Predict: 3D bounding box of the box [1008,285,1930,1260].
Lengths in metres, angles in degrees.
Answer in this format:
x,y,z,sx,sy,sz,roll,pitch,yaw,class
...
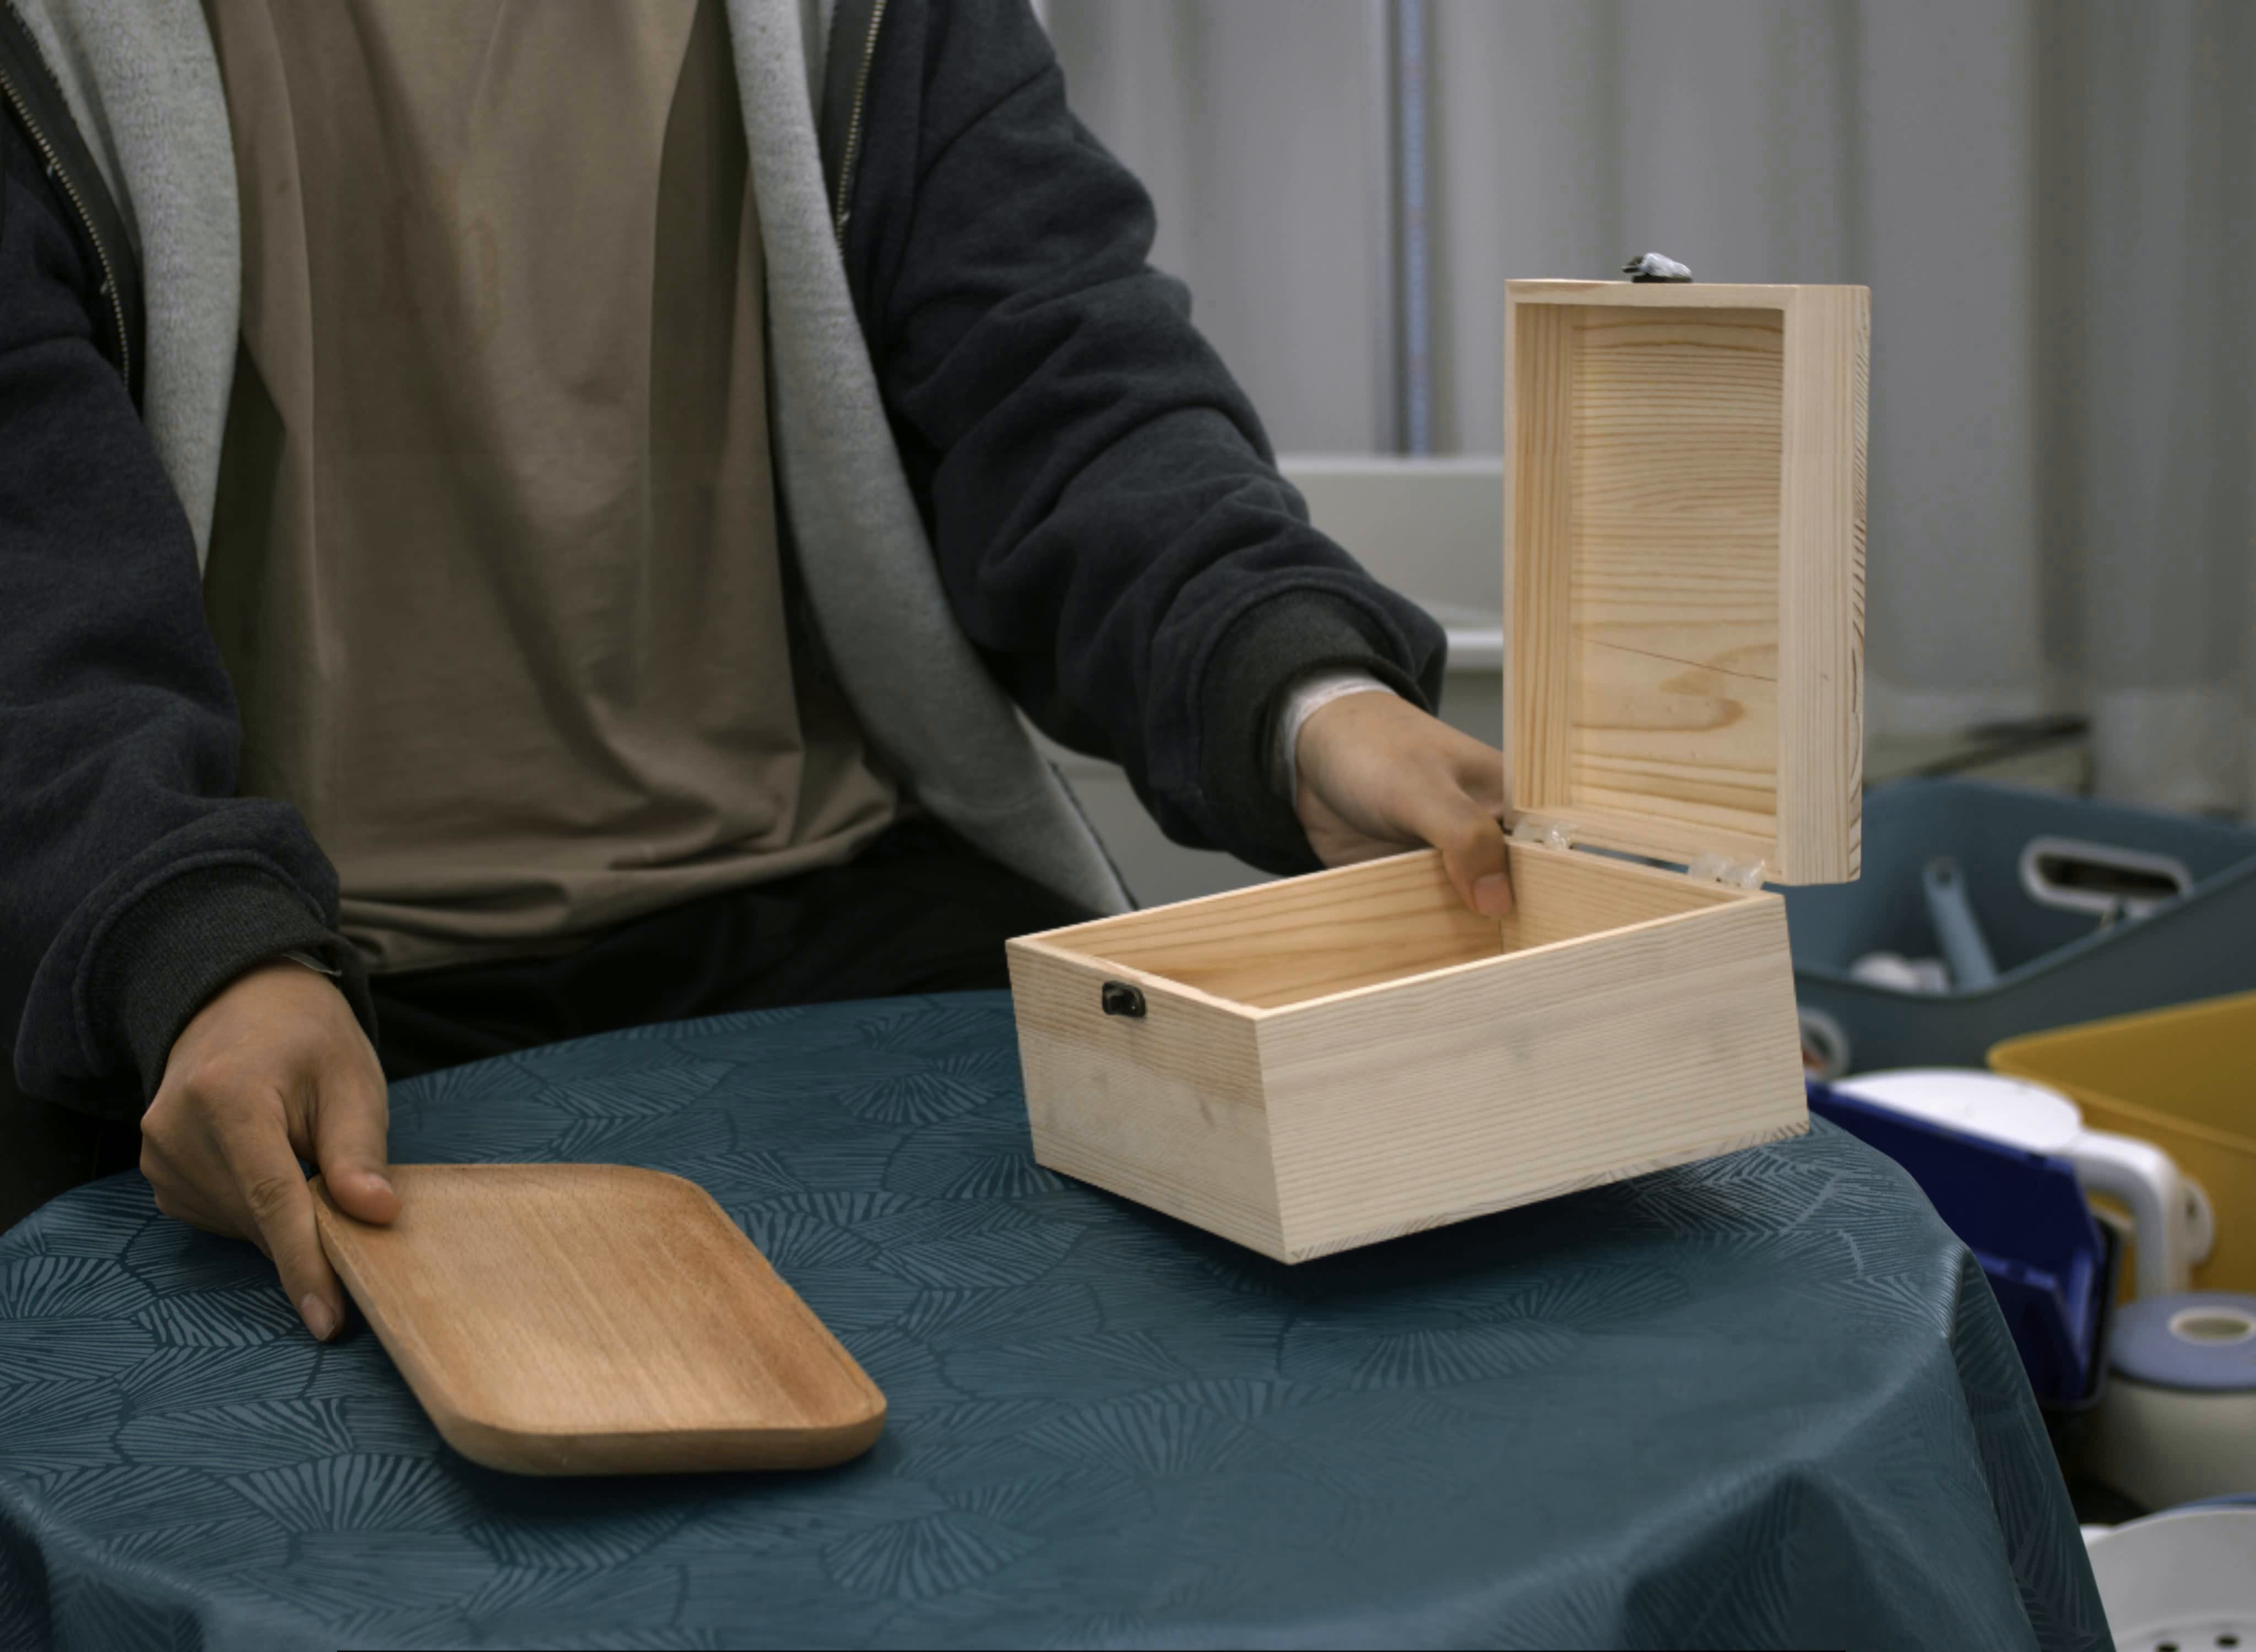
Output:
x,y,z,sx,sy,sz,roll,pitch,yaw,class
0.104,-0.025,1.698,0.264,0.253,0.182,-11,7,-24,box

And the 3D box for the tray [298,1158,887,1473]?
x,y,z,sx,sy,sz,roll,pitch,yaw,class
-0.160,0.139,1.587,0.130,0.023,0.252,4,11,-20,tray
